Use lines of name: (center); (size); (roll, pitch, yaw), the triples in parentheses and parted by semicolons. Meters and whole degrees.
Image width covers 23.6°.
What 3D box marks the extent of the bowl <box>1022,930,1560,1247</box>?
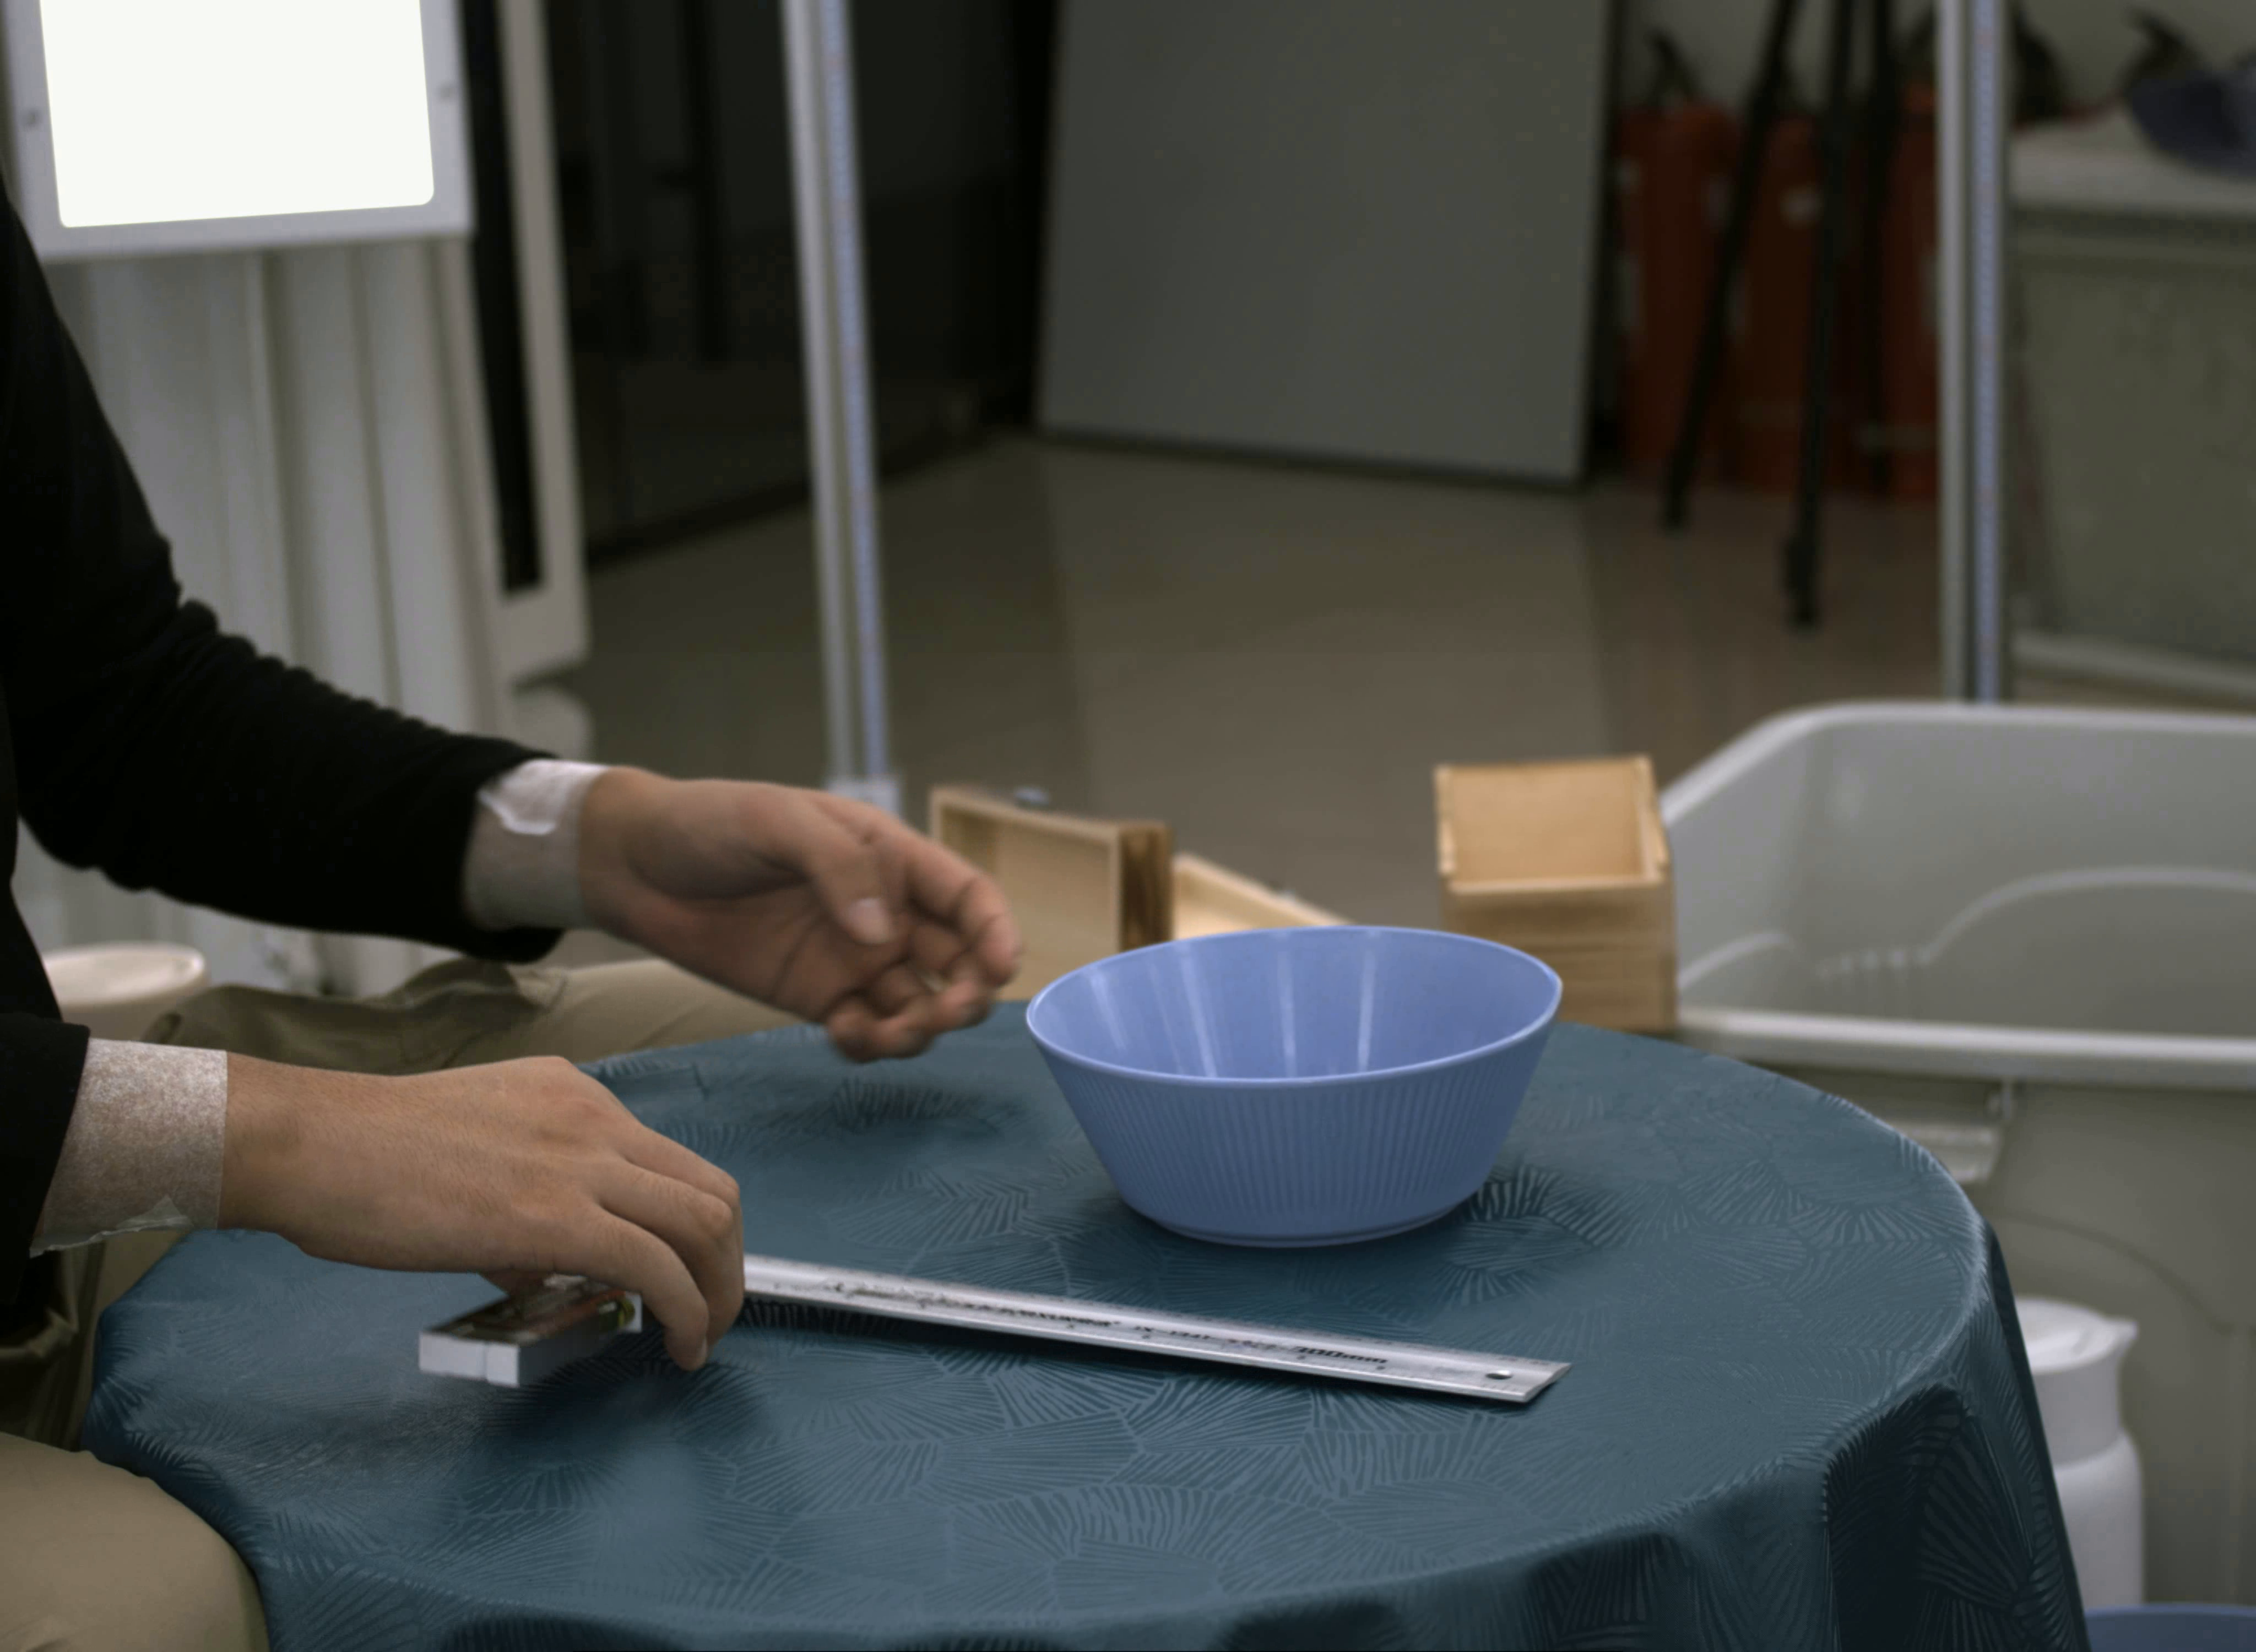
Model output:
bowl: (0.054, 0.087, 1.746); (0.174, 0.071, 0.176); (-4, 14, 0)

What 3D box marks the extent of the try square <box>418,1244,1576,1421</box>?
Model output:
try square: (-0.039, 0.161, 1.584); (0.313, 0.016, 0.150); (4, 13, 26)
